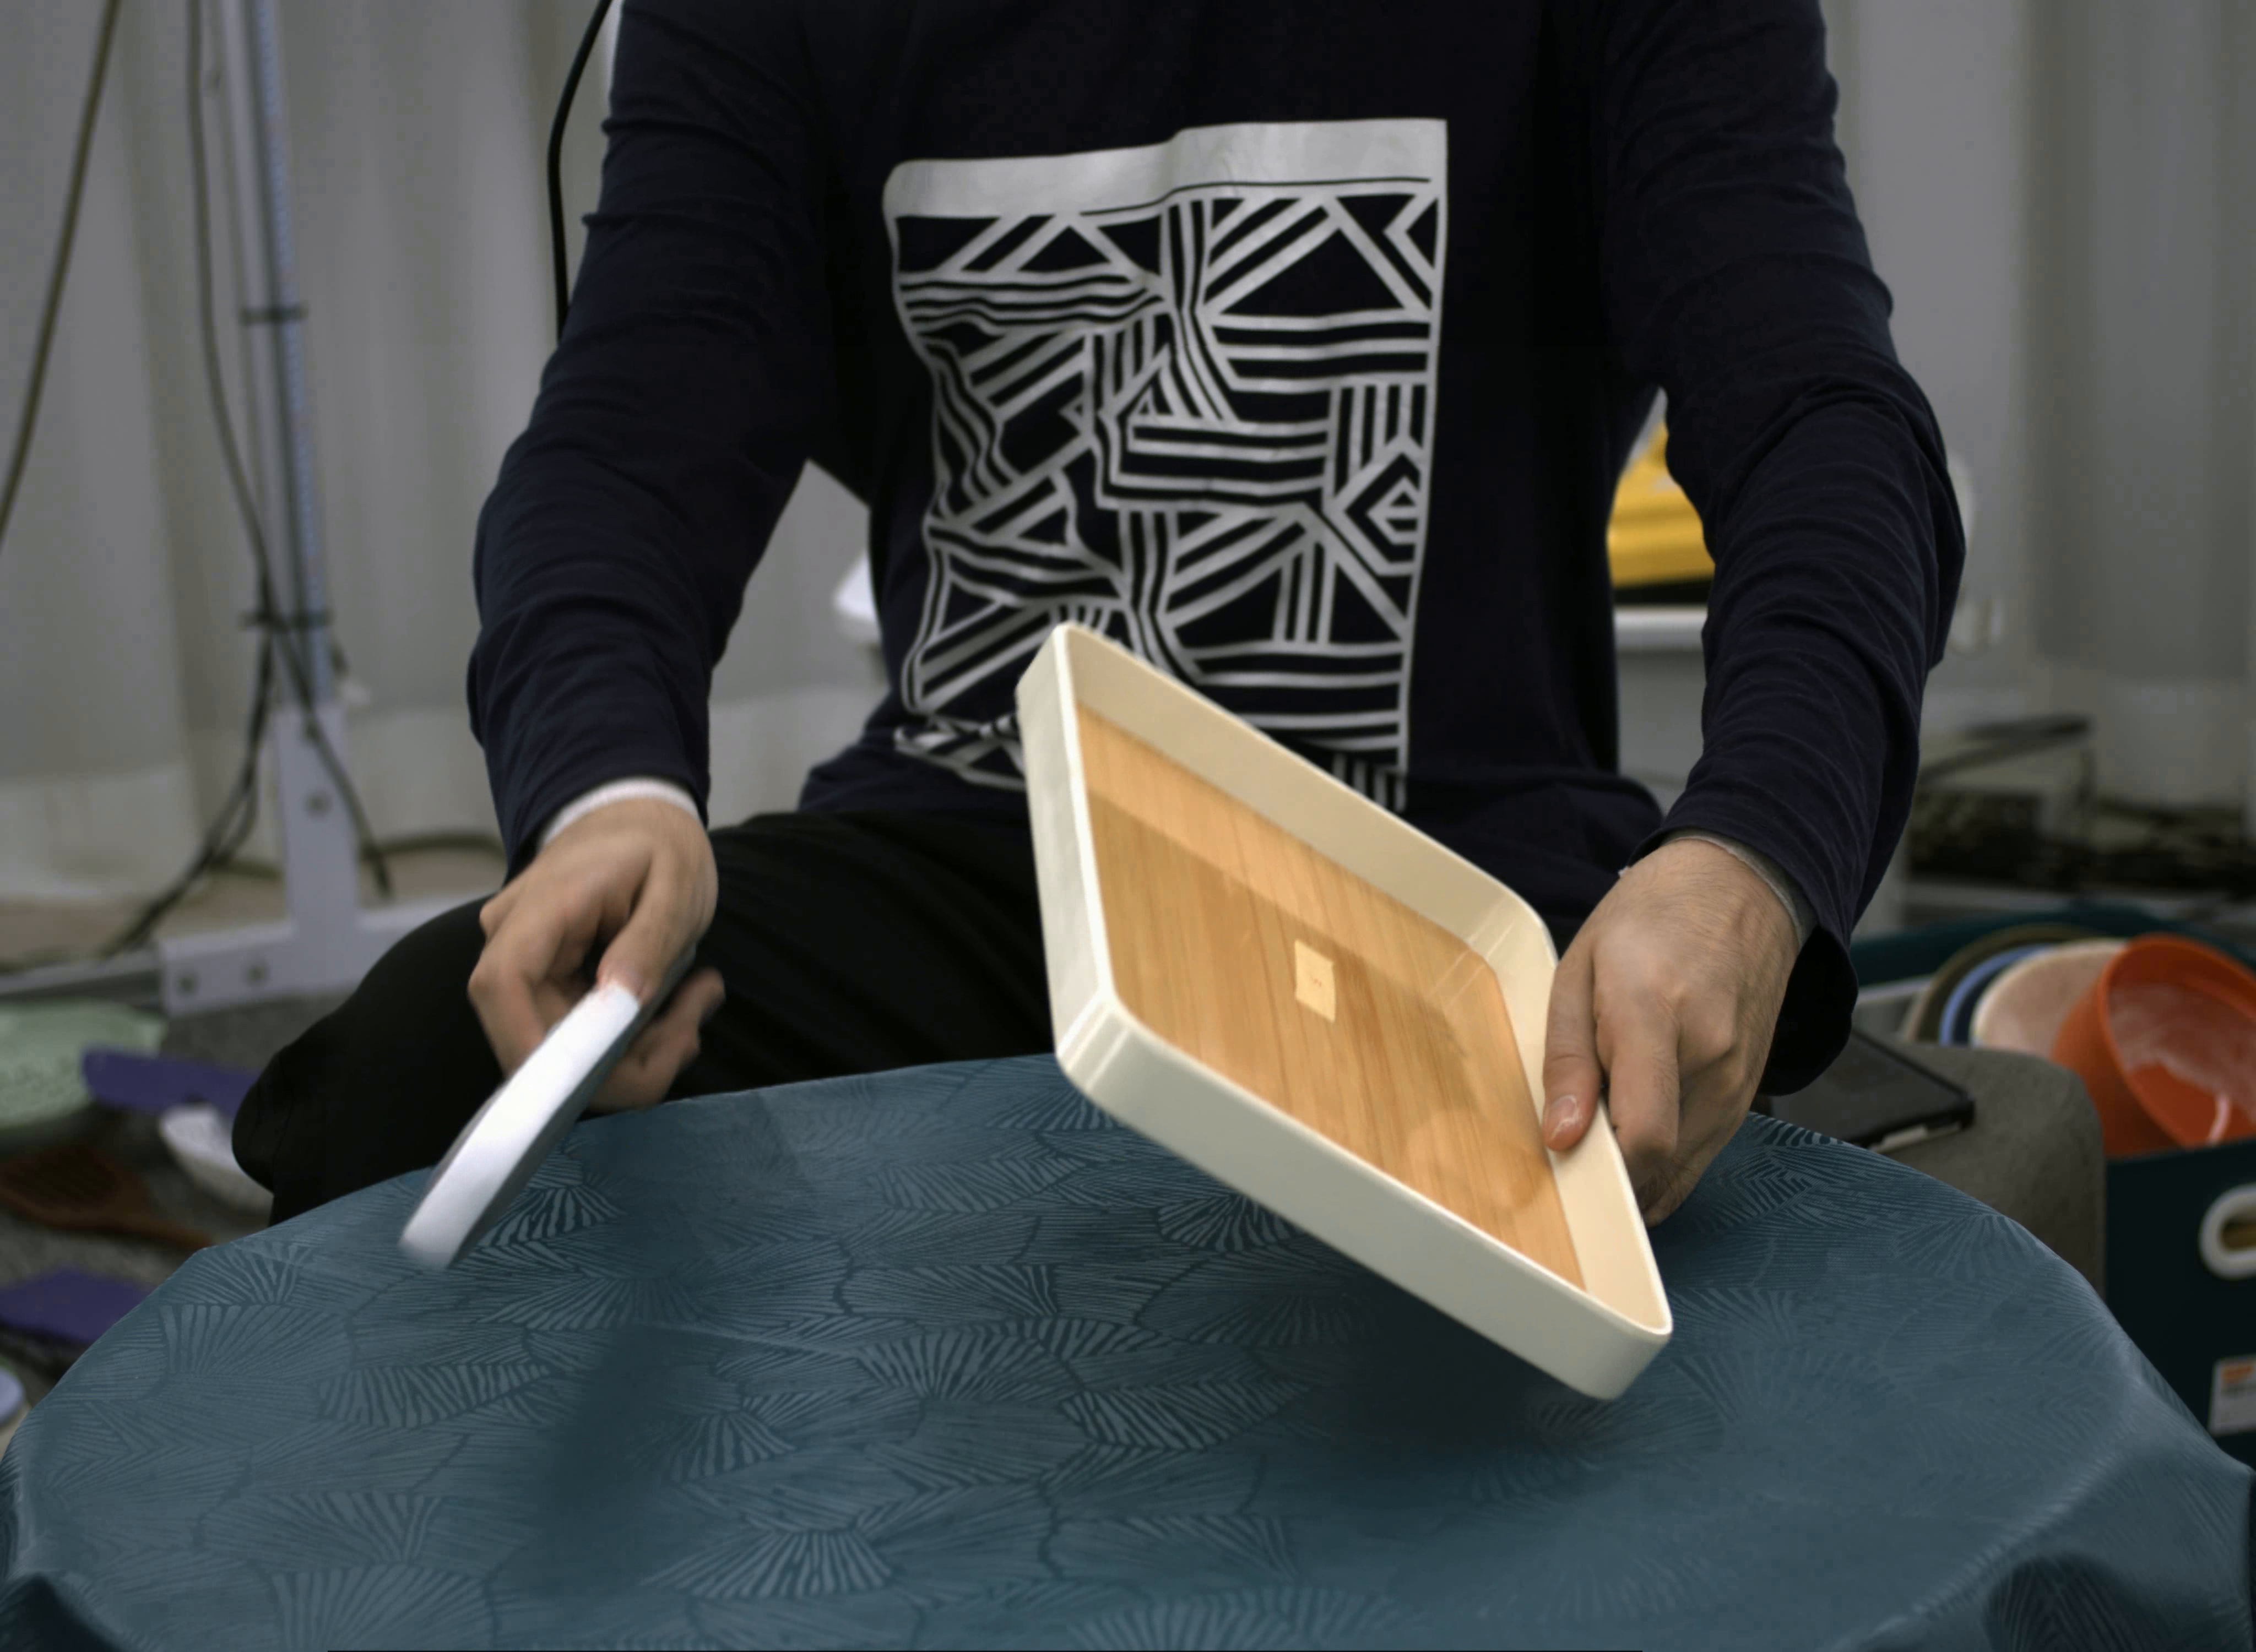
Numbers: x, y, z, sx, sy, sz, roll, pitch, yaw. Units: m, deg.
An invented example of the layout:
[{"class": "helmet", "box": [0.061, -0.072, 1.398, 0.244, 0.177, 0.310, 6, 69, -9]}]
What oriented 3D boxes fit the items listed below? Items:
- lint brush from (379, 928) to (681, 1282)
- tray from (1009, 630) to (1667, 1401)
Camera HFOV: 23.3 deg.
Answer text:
[{"class": "lint brush", "box": [-0.169, 0.072, 1.609, 0.021, 0.060, 0.310, 33, 13, -1]}, {"class": "tray", "box": [0.054, 0.048, 1.588, 0.190, 0.027, 0.303, 32, 16, -15]}]
